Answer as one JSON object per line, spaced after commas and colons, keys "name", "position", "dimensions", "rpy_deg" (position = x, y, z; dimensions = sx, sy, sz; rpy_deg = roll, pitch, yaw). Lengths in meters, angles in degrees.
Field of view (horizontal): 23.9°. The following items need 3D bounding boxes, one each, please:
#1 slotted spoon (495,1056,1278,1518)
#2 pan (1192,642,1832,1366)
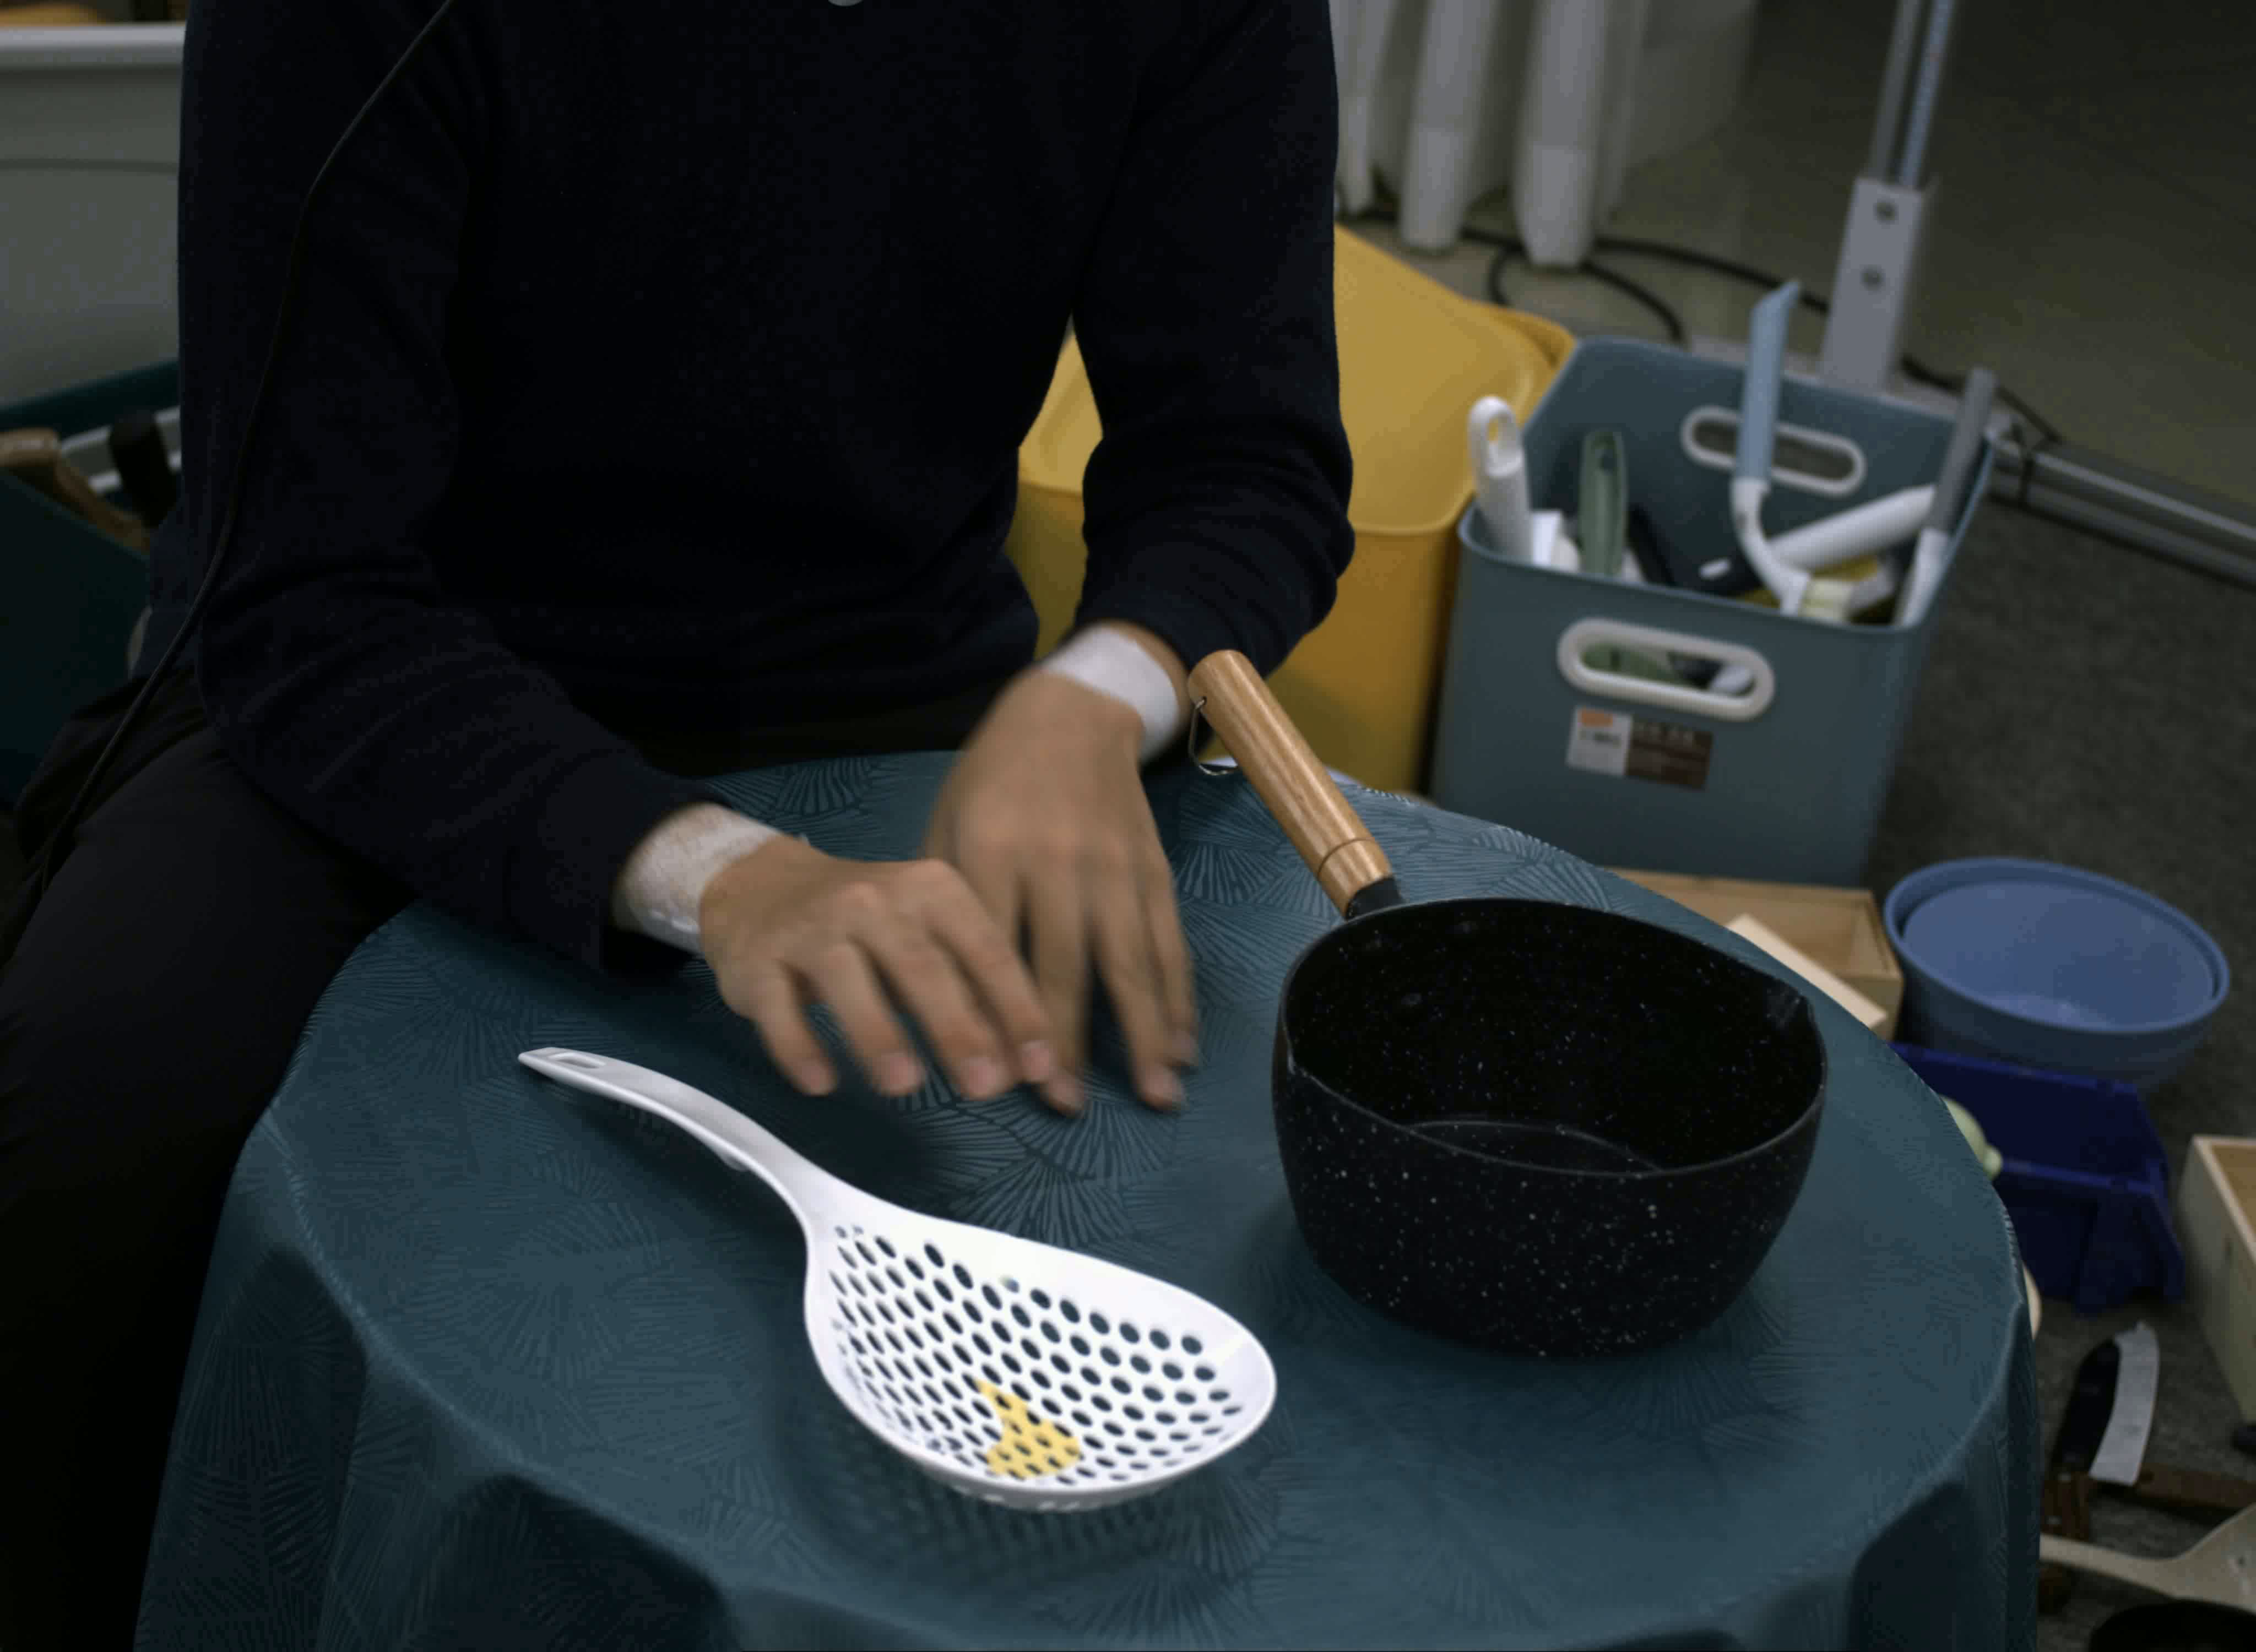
{"name": "slotted spoon", "position": [-0.095, 0.135, 1.712], "dimensions": [0.136, 0.050, 0.351], "rpy_deg": [-17, 37, -36]}
{"name": "pan", "position": [0.101, 0.058, 1.835], "dimensions": [0.206, 0.108, 0.346], "rpy_deg": [-9, 32, -26]}
